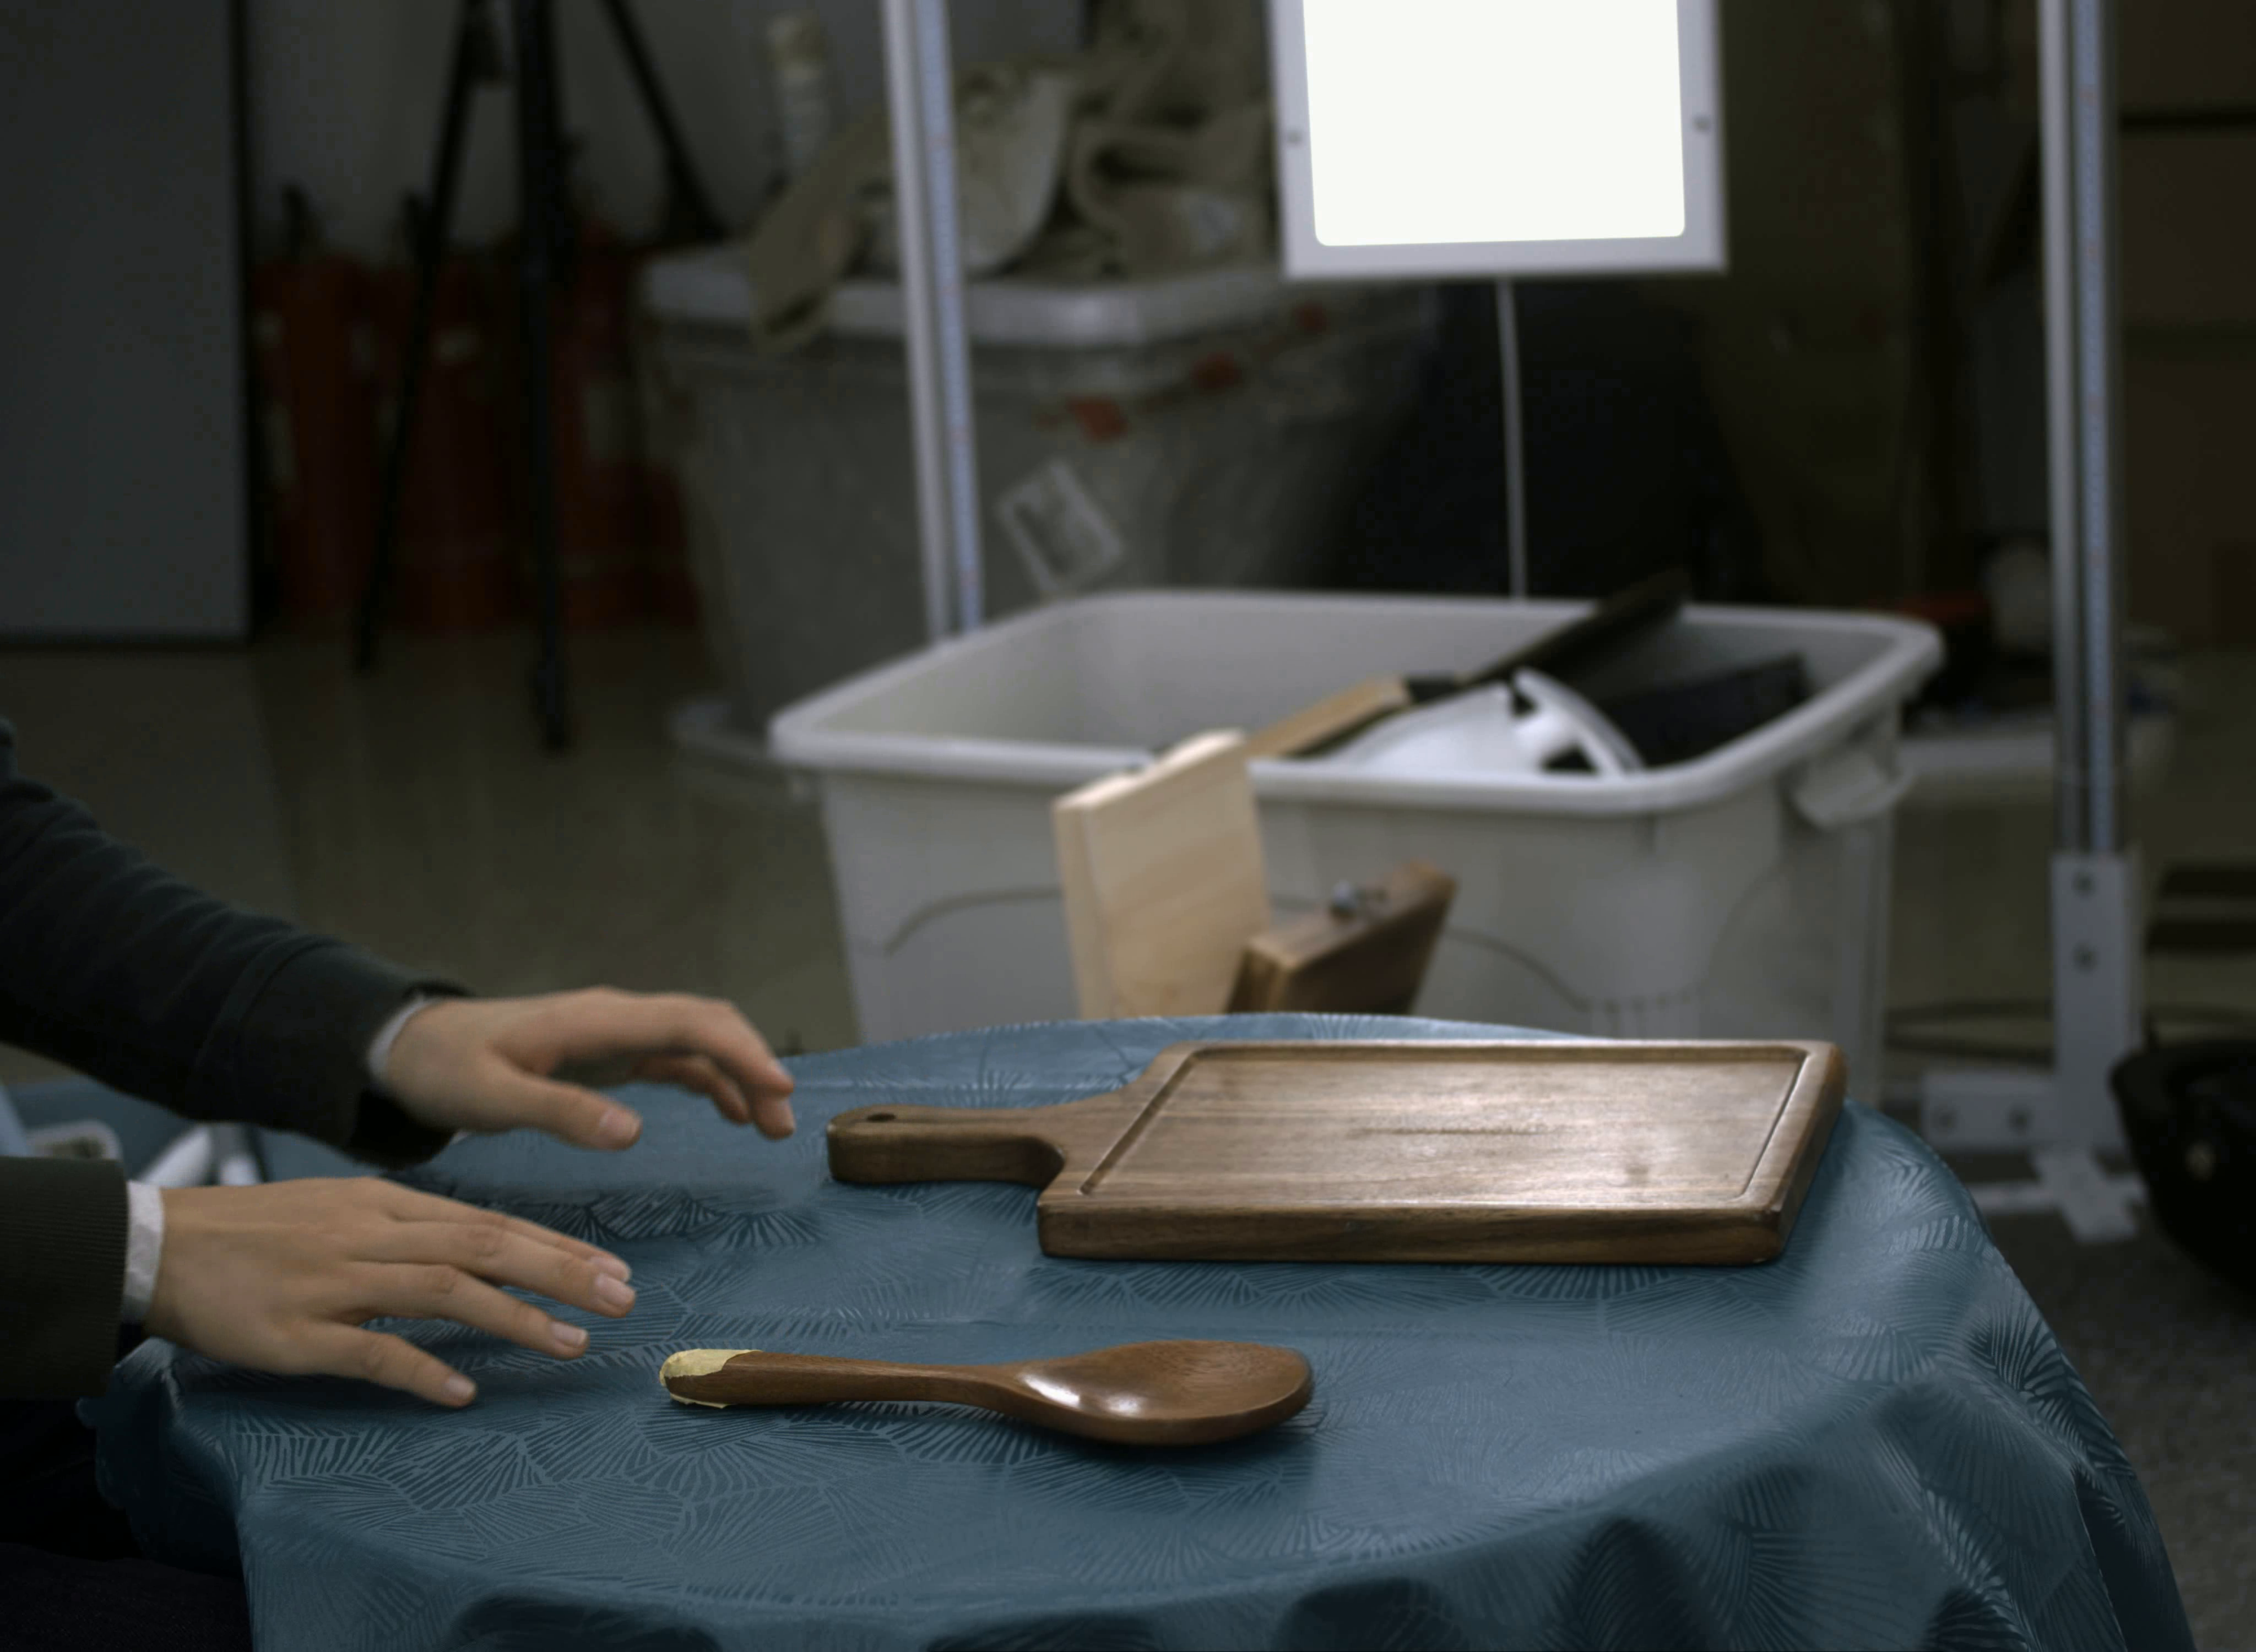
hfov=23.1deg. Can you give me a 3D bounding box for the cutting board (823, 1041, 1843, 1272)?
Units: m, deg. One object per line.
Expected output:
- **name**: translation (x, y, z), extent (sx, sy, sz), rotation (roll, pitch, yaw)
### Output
- **cutting board**: translation (0.064, 0.111, 1.899), extent (0.356, 0.023, 0.198), rotation (-1, 15, 17)

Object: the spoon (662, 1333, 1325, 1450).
- **spoon**: translation (-0.043, 0.172, 1.691), extent (0.219, 0.017, 0.074), rotation (2, 17, 22)
